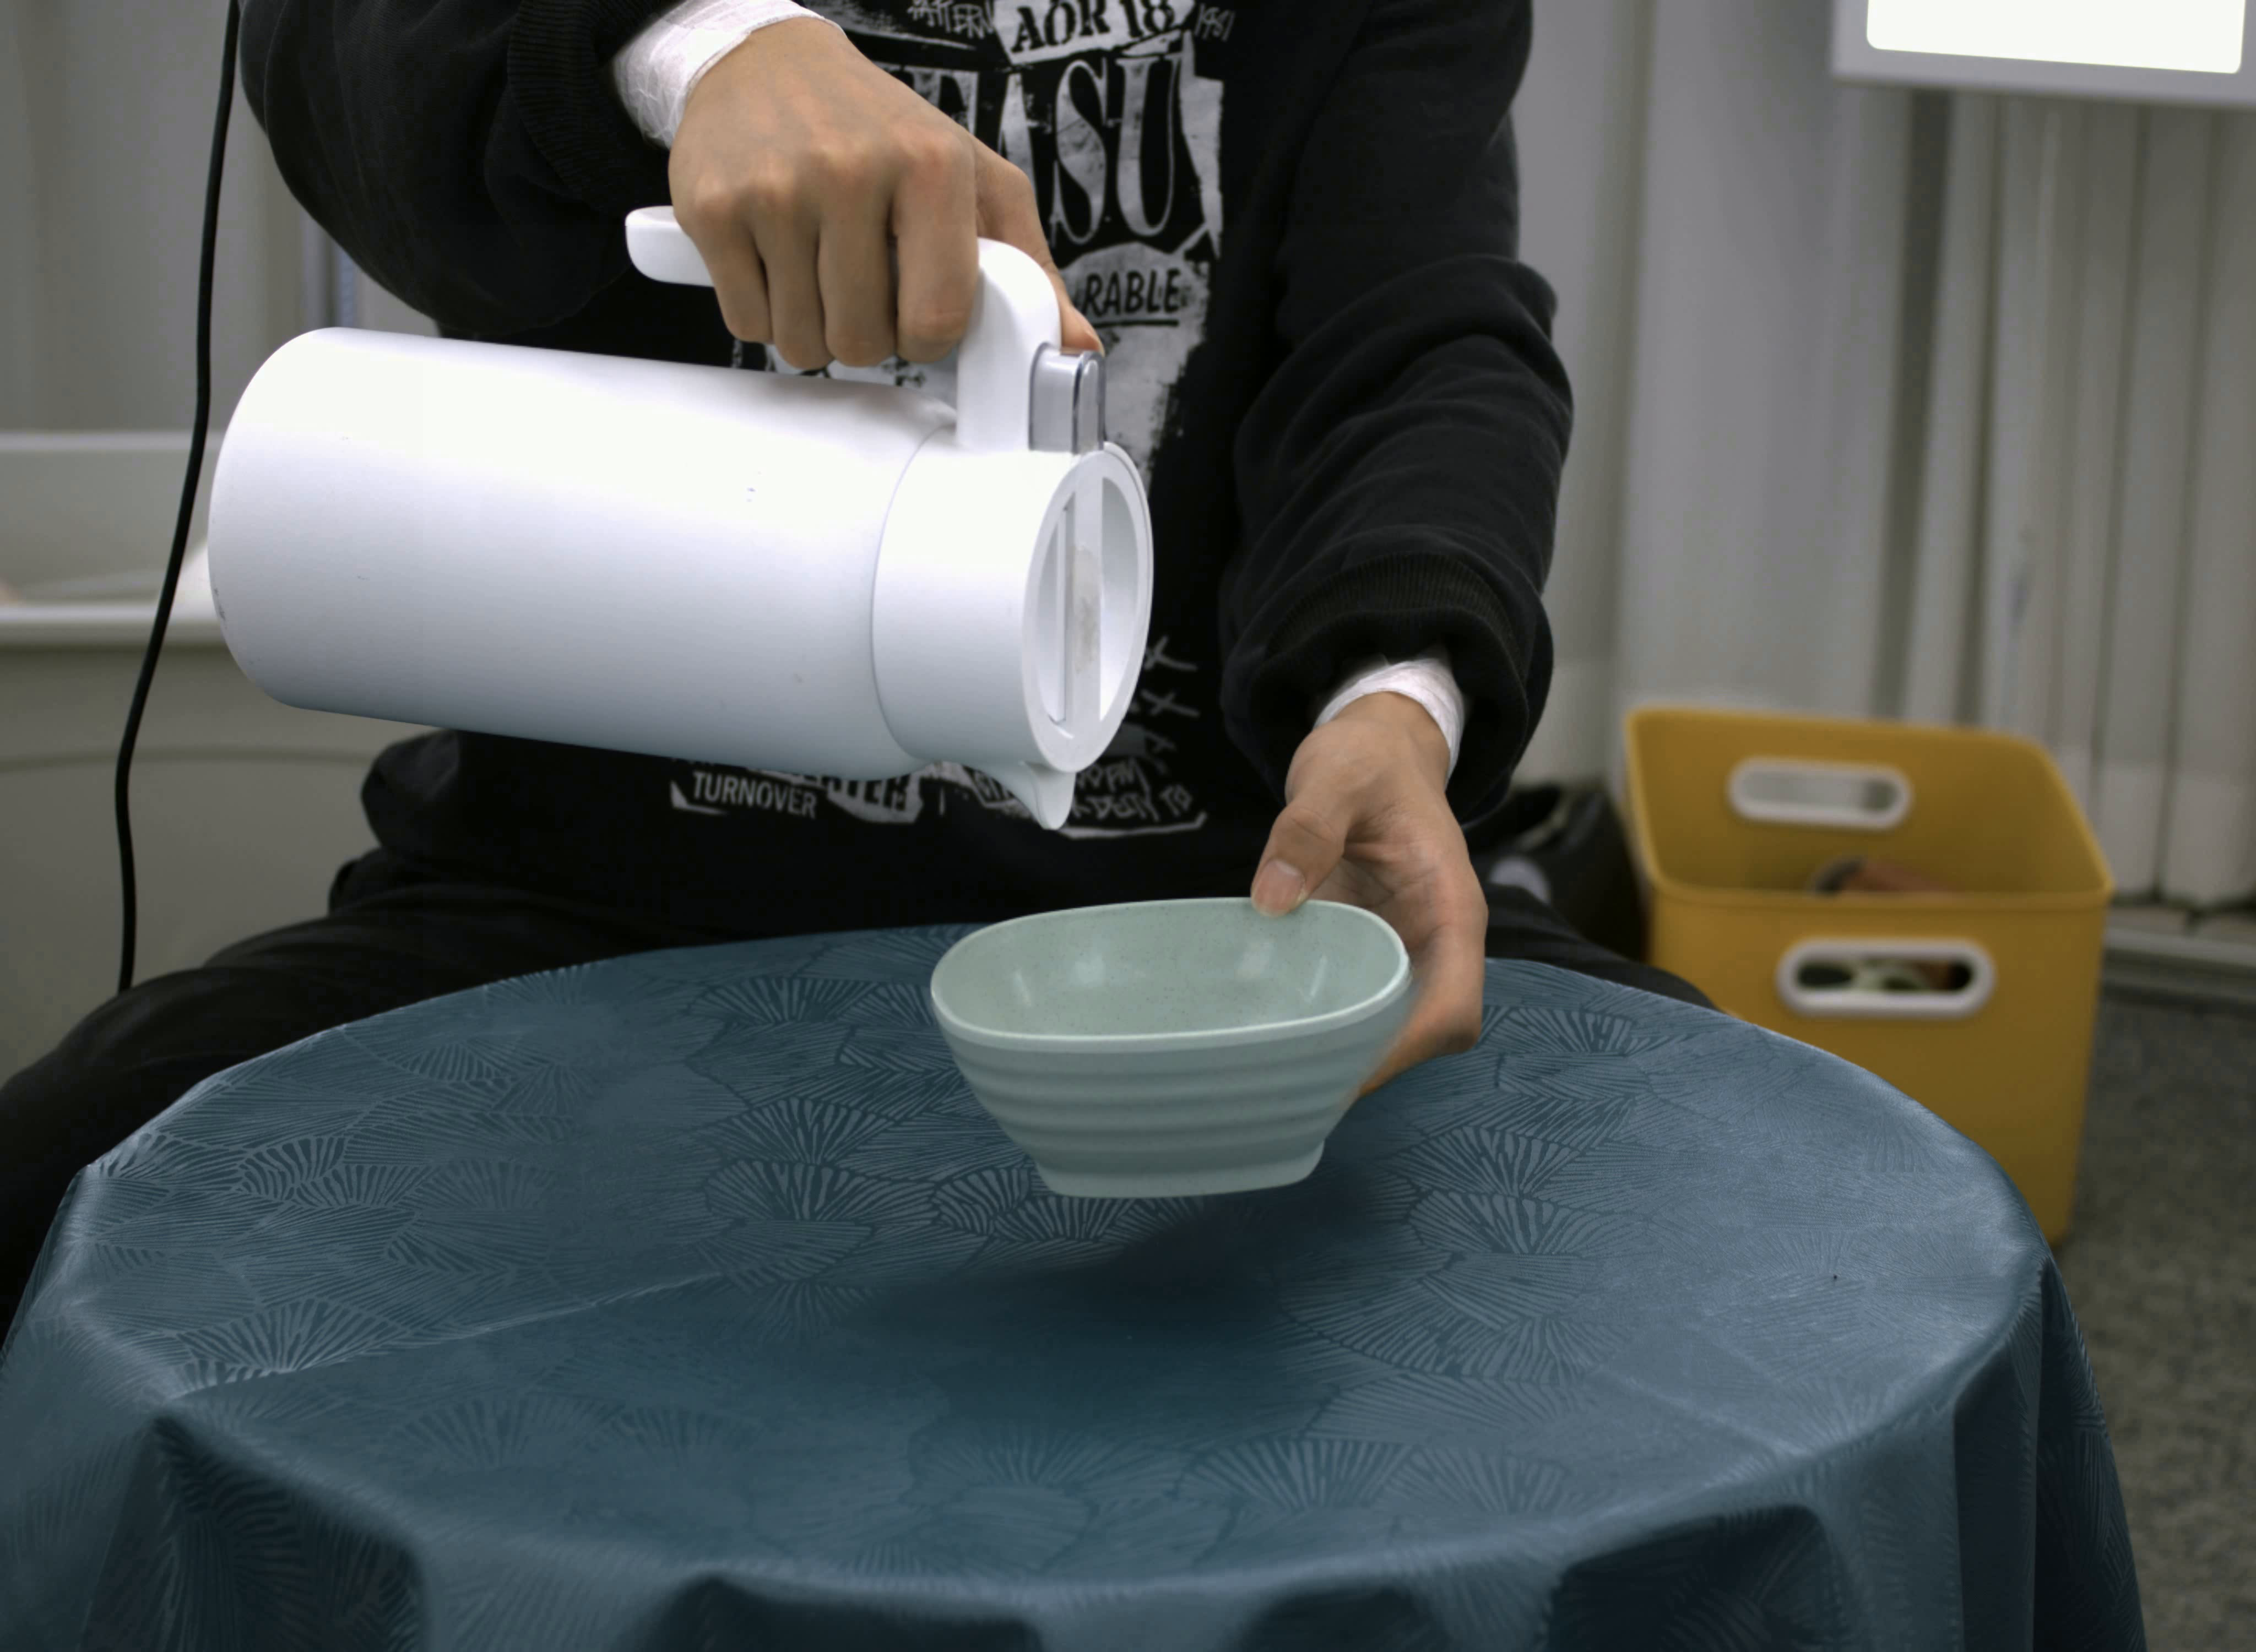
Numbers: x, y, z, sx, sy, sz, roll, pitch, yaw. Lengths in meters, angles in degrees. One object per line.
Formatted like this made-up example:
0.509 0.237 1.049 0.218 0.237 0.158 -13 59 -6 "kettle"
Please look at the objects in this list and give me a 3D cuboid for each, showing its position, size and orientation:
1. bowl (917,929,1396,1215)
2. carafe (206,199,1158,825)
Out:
0.010 0.073 1.528 0.151 0.059 0.151 -3 11 1 "bowl"
-0.132 -0.097 1.548 0.266 0.174 0.124 8 20 22 "carafe"
